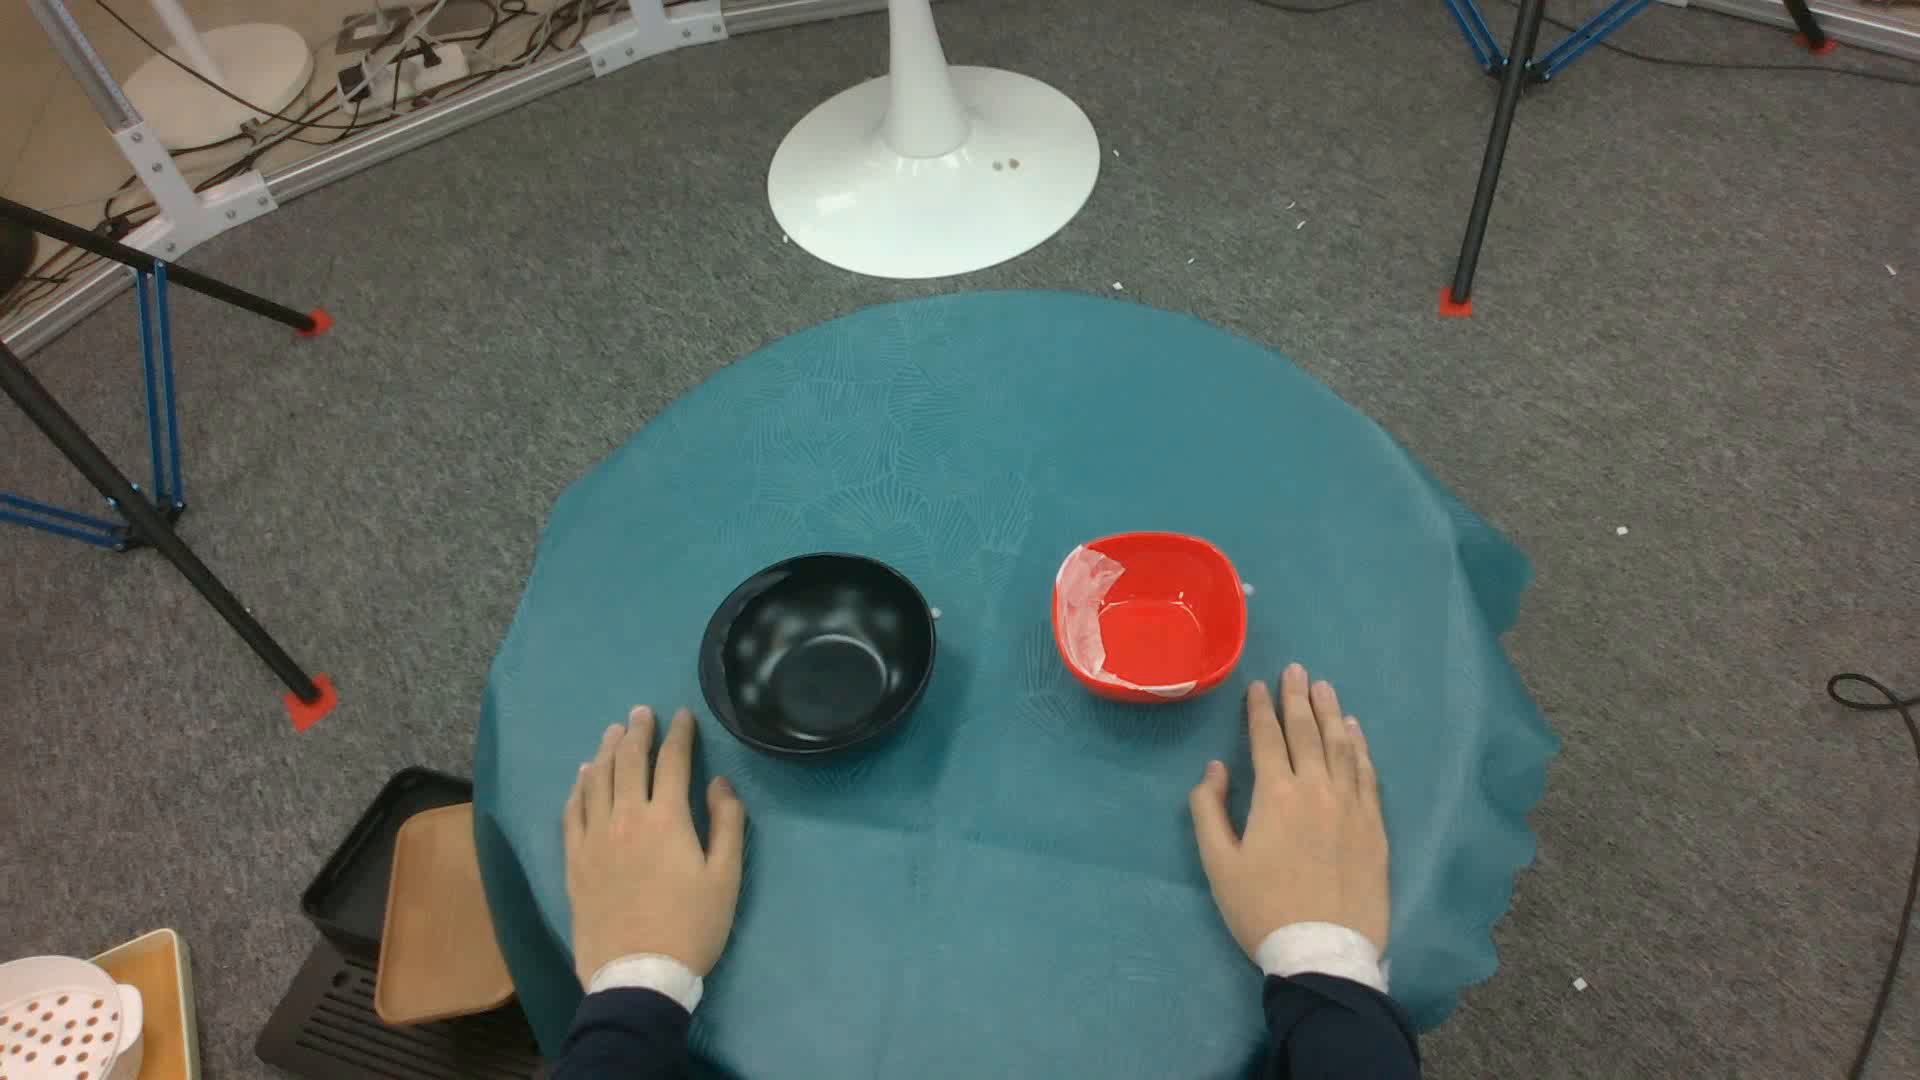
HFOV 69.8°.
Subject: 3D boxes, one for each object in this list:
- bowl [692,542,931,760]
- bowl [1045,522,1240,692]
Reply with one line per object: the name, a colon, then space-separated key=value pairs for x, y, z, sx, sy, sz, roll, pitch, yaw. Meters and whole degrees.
bowl: x=-0.083 y=0.072 z=0.809 sx=0.140 sy=0.049 sz=0.140 roll=-3 pitch=56 yaw=4
bowl: x=0.105 y=0.047 z=0.801 sx=0.119 sy=0.051 sz=0.119 roll=-2 pitch=50 yaw=3
